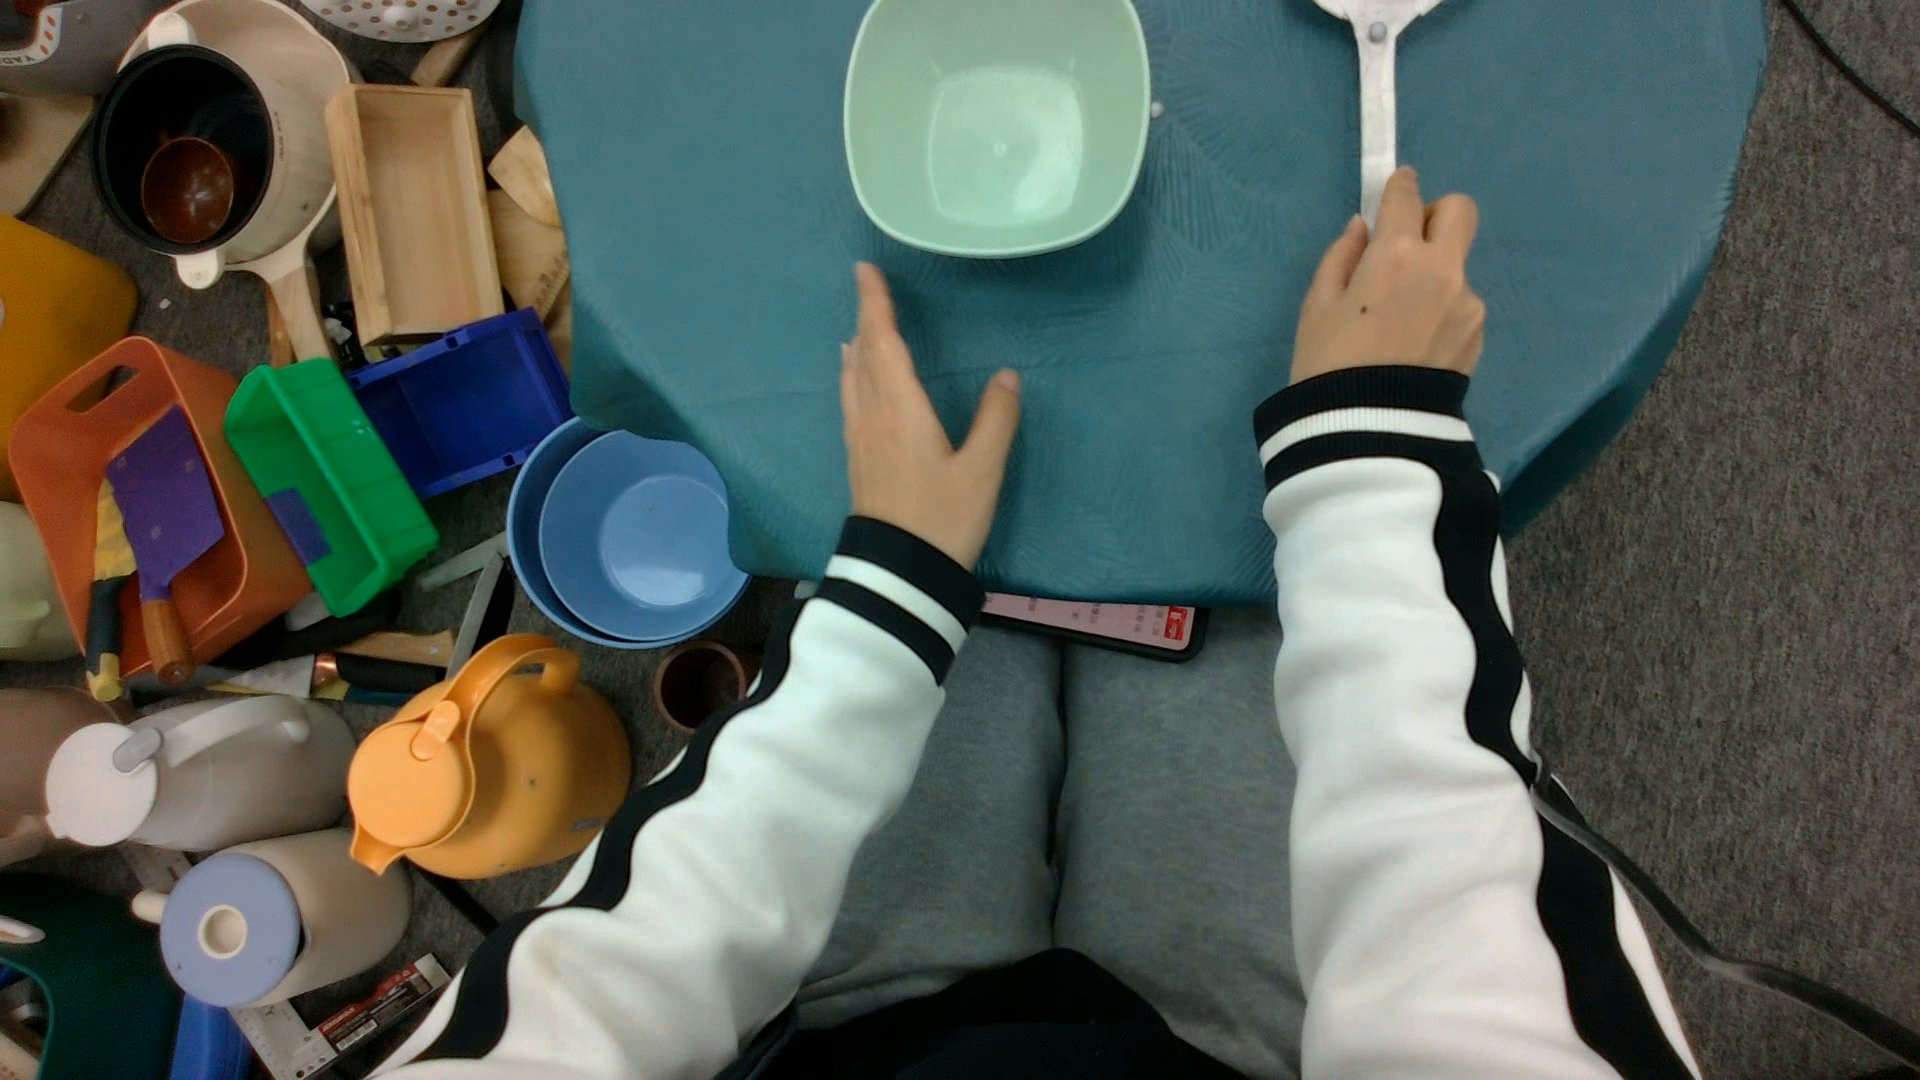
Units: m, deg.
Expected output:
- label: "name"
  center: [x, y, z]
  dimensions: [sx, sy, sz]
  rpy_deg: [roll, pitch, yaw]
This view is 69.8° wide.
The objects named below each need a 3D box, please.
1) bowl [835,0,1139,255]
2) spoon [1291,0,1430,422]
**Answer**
- label: "bowl"
  center: [0.015, -0.195, 0.651]
  dimensions: [0.151, 0.058, 0.151]
  rpy_deg: [-1, 83, 7]
- label: "spoon"
  center: [0.174, -0.192, 0.614]
  dimensions: [0.100, 0.059, 0.278]
  rpy_deg: [4, 76, 14]
